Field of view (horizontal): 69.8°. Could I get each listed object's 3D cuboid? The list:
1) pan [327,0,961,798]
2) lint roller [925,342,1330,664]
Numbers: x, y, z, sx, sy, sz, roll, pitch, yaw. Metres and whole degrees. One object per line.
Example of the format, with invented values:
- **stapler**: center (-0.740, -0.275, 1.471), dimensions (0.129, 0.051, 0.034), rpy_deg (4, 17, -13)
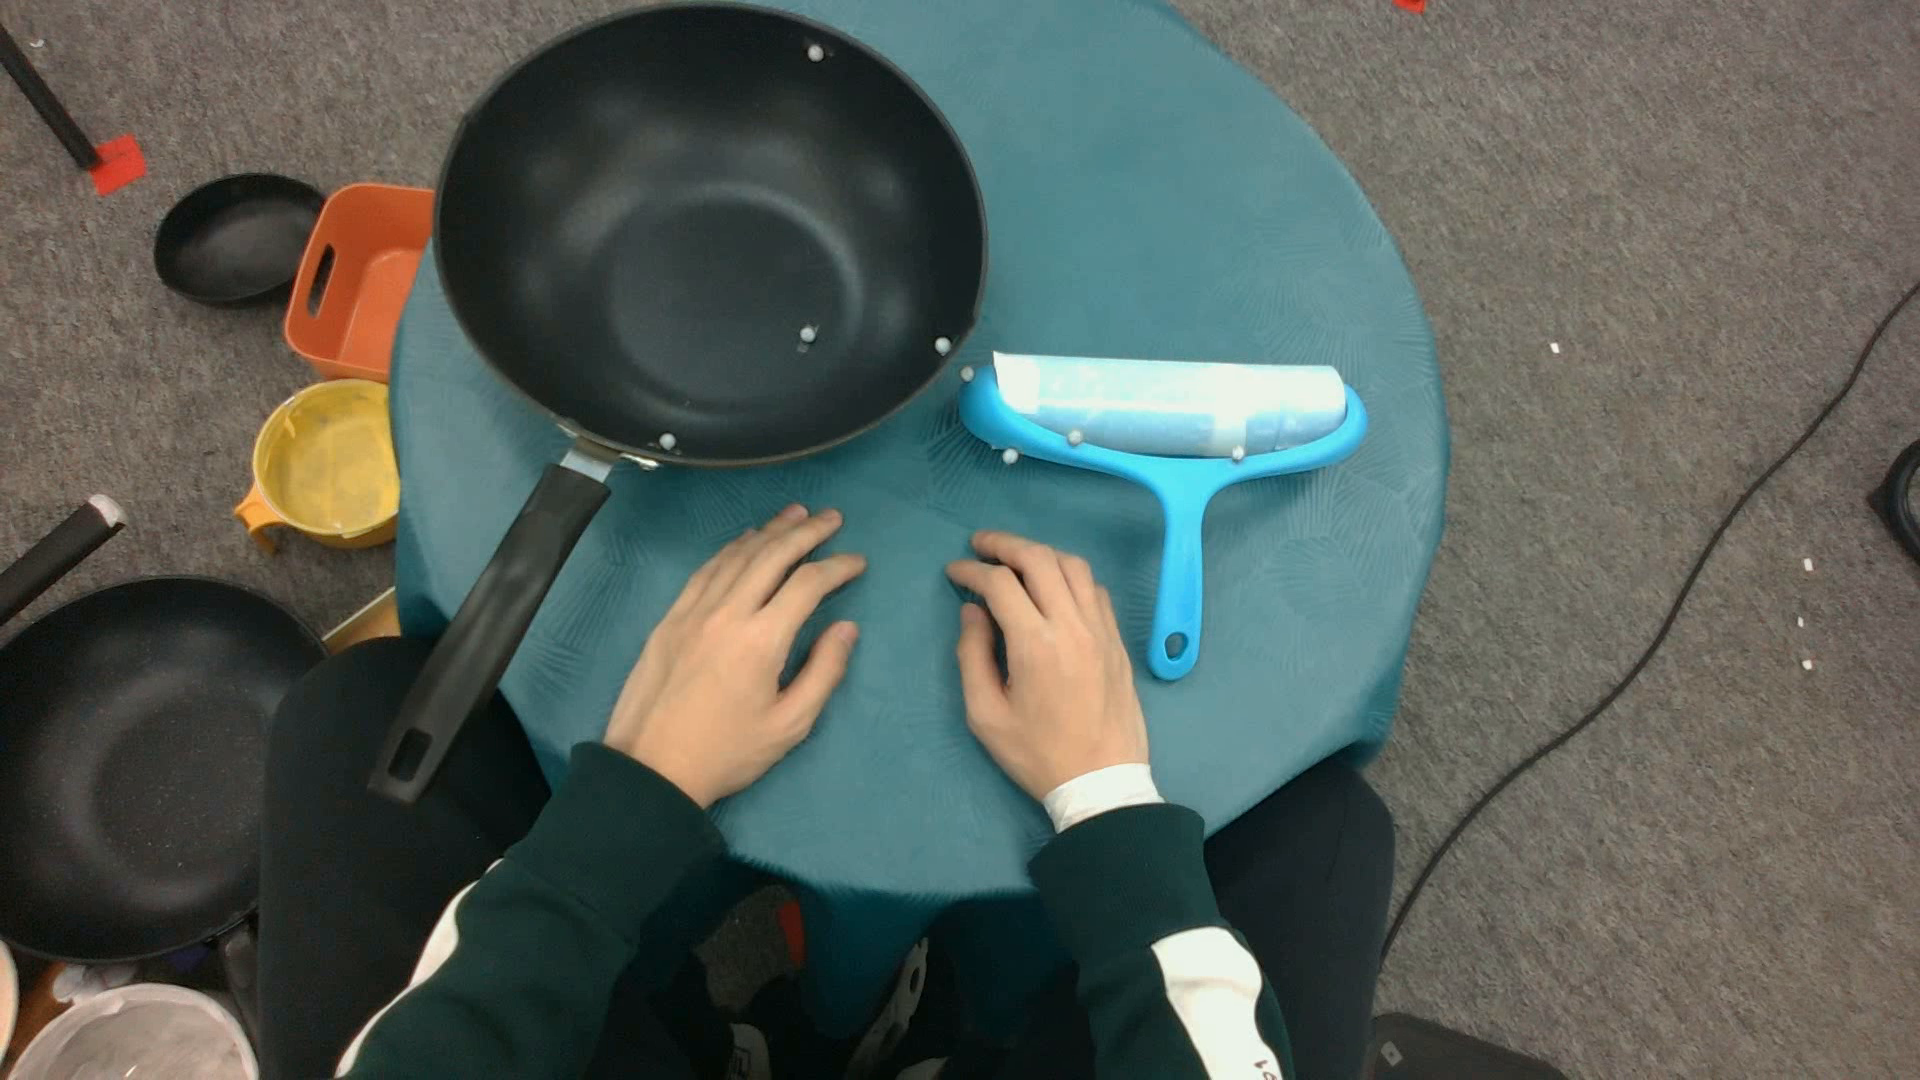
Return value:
- **pan**: center (-0.176, -0.076, 0.712), dimensions (0.288, 0.086, 0.465), rpy_deg (22, 68, 1)
- **lint roller**: center (0.101, -0.028, 0.748), dimensions (0.229, 0.067, 0.181), rpy_deg (-2, 68, -11)
